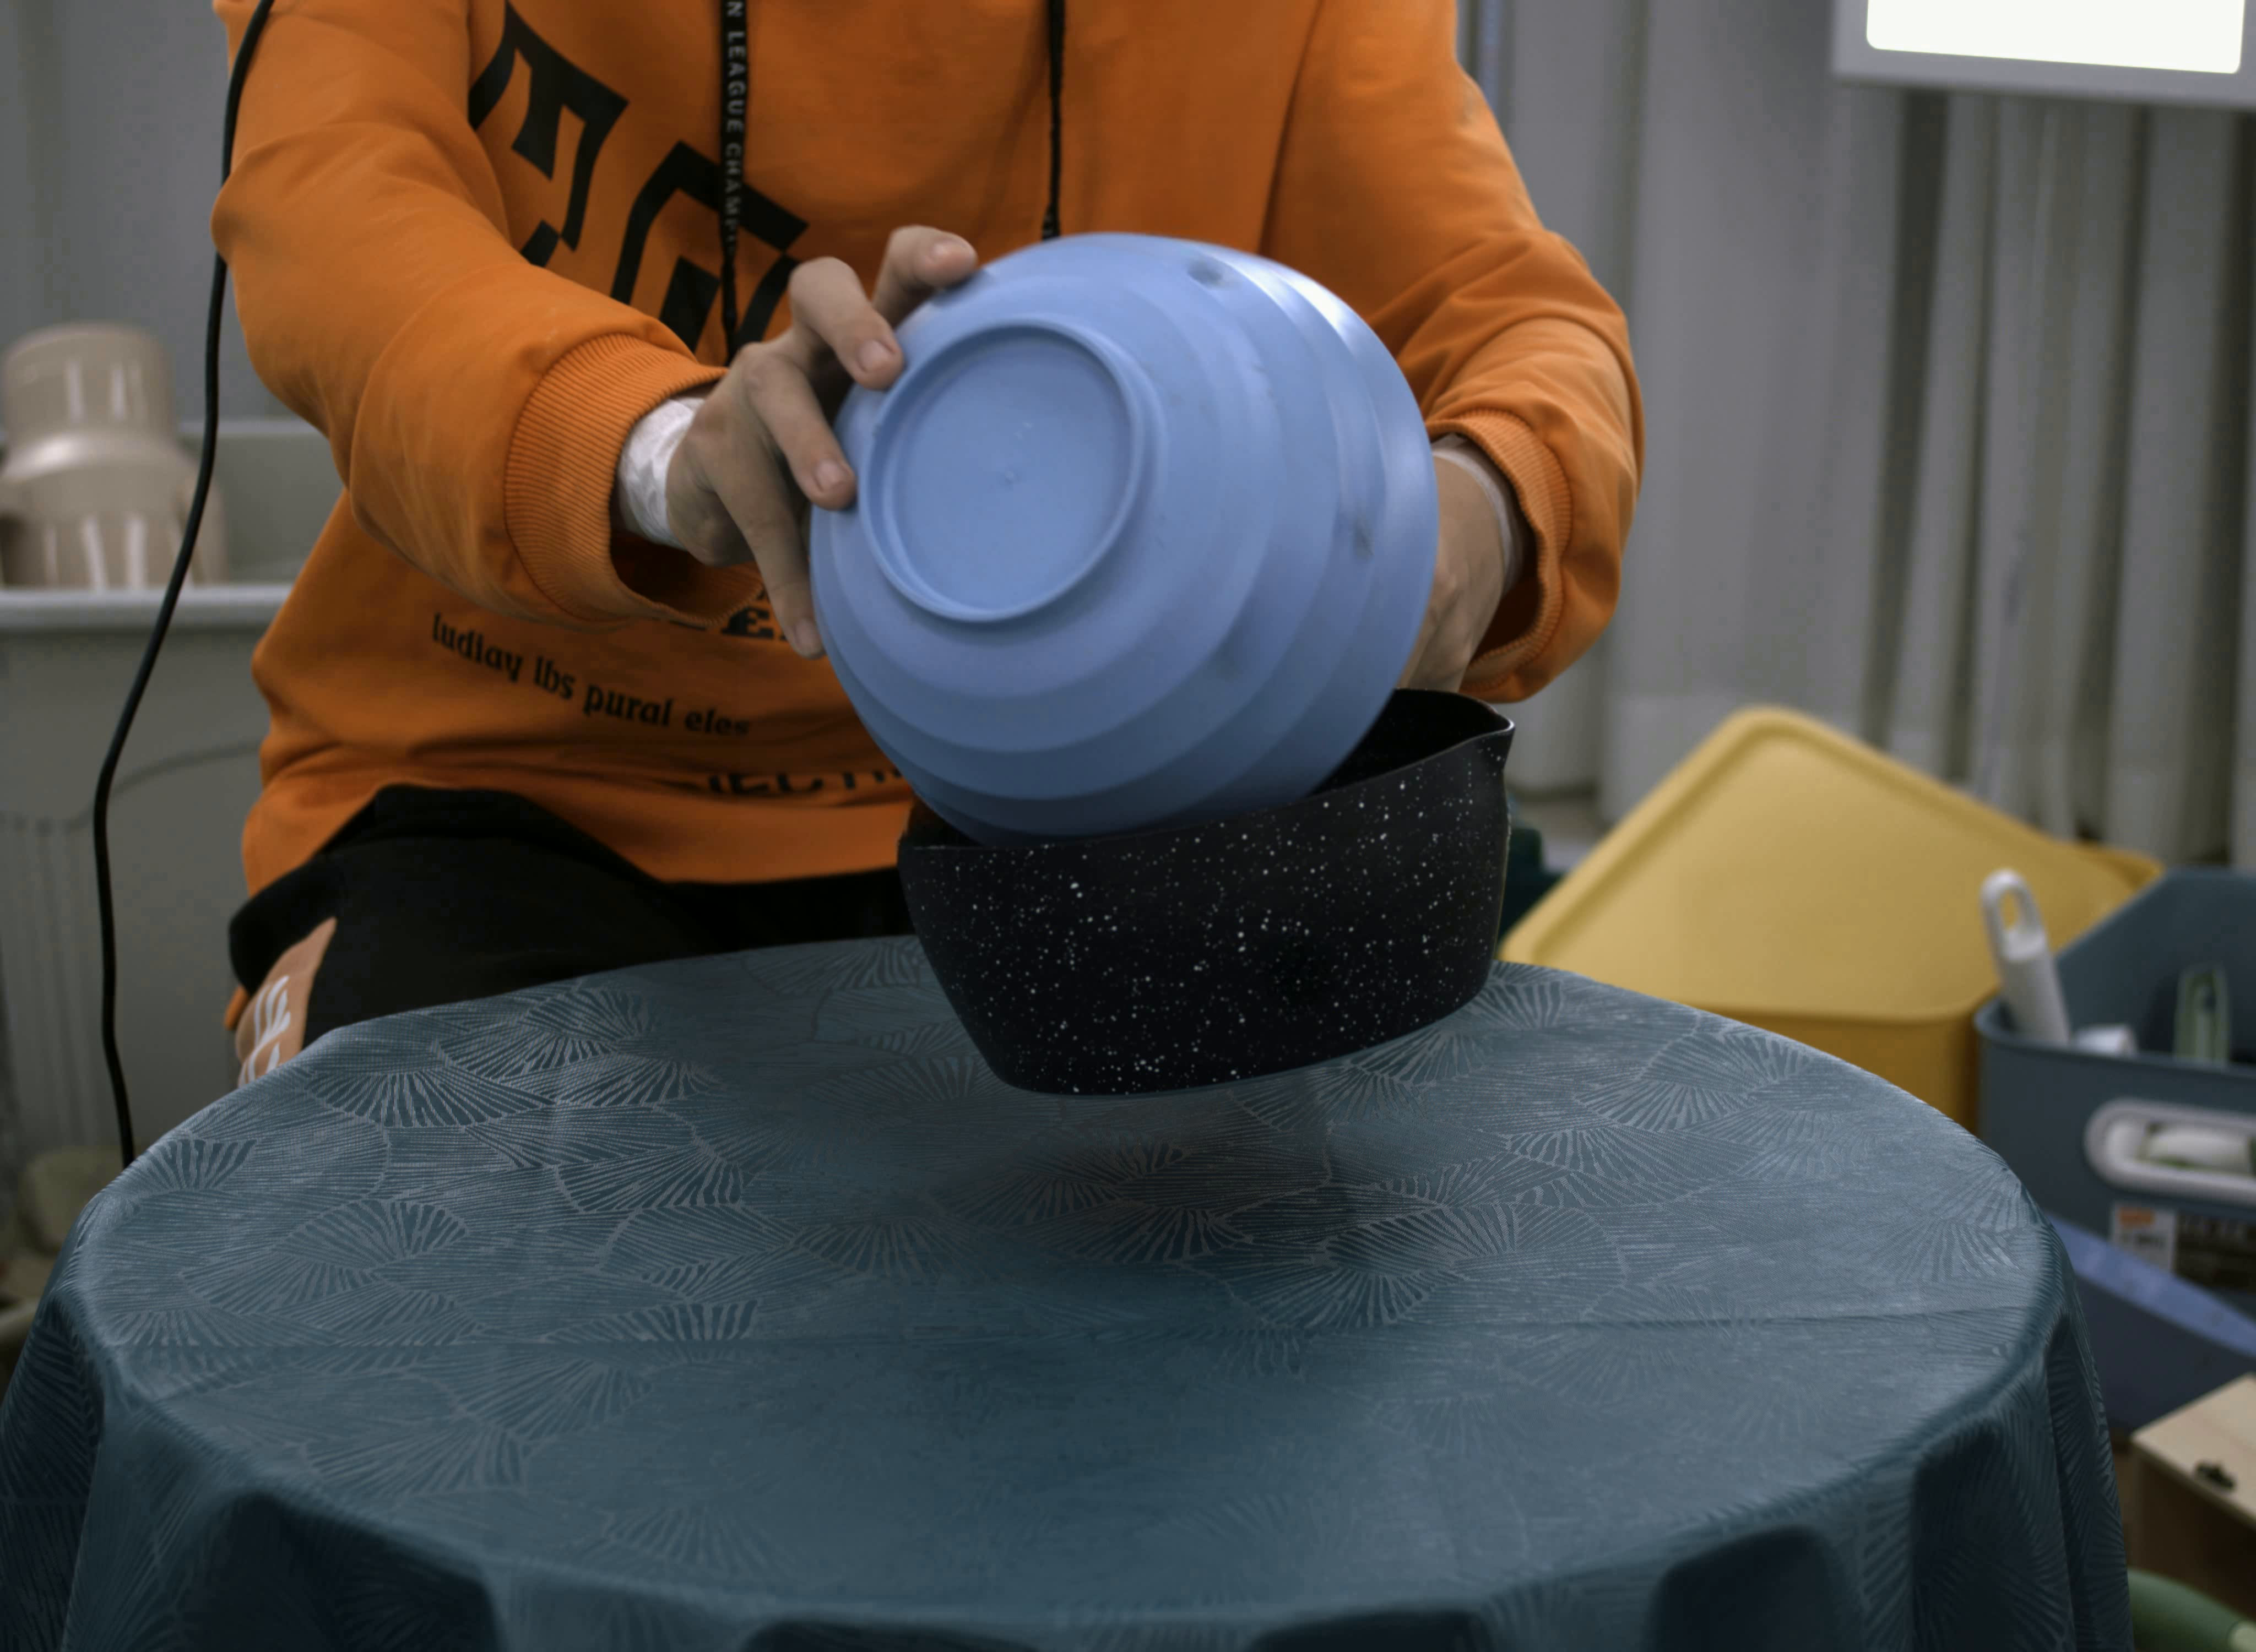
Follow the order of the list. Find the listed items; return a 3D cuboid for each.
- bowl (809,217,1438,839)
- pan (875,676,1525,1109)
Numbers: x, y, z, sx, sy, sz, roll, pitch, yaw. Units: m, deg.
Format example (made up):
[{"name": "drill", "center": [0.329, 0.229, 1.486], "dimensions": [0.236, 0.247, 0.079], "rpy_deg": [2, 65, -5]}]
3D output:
[{"name": "bowl", "center": [-0.018, -0.094, 1.532], "dimensions": [0.194, 0.197, 0.096], "rpy_deg": [10, -7, 29]}, {"name": "pan", "center": [0.042, -0.008, 1.659], "dimensions": [0.206, 0.109, 0.342], "rpy_deg": [-9, 12, 15]}]
